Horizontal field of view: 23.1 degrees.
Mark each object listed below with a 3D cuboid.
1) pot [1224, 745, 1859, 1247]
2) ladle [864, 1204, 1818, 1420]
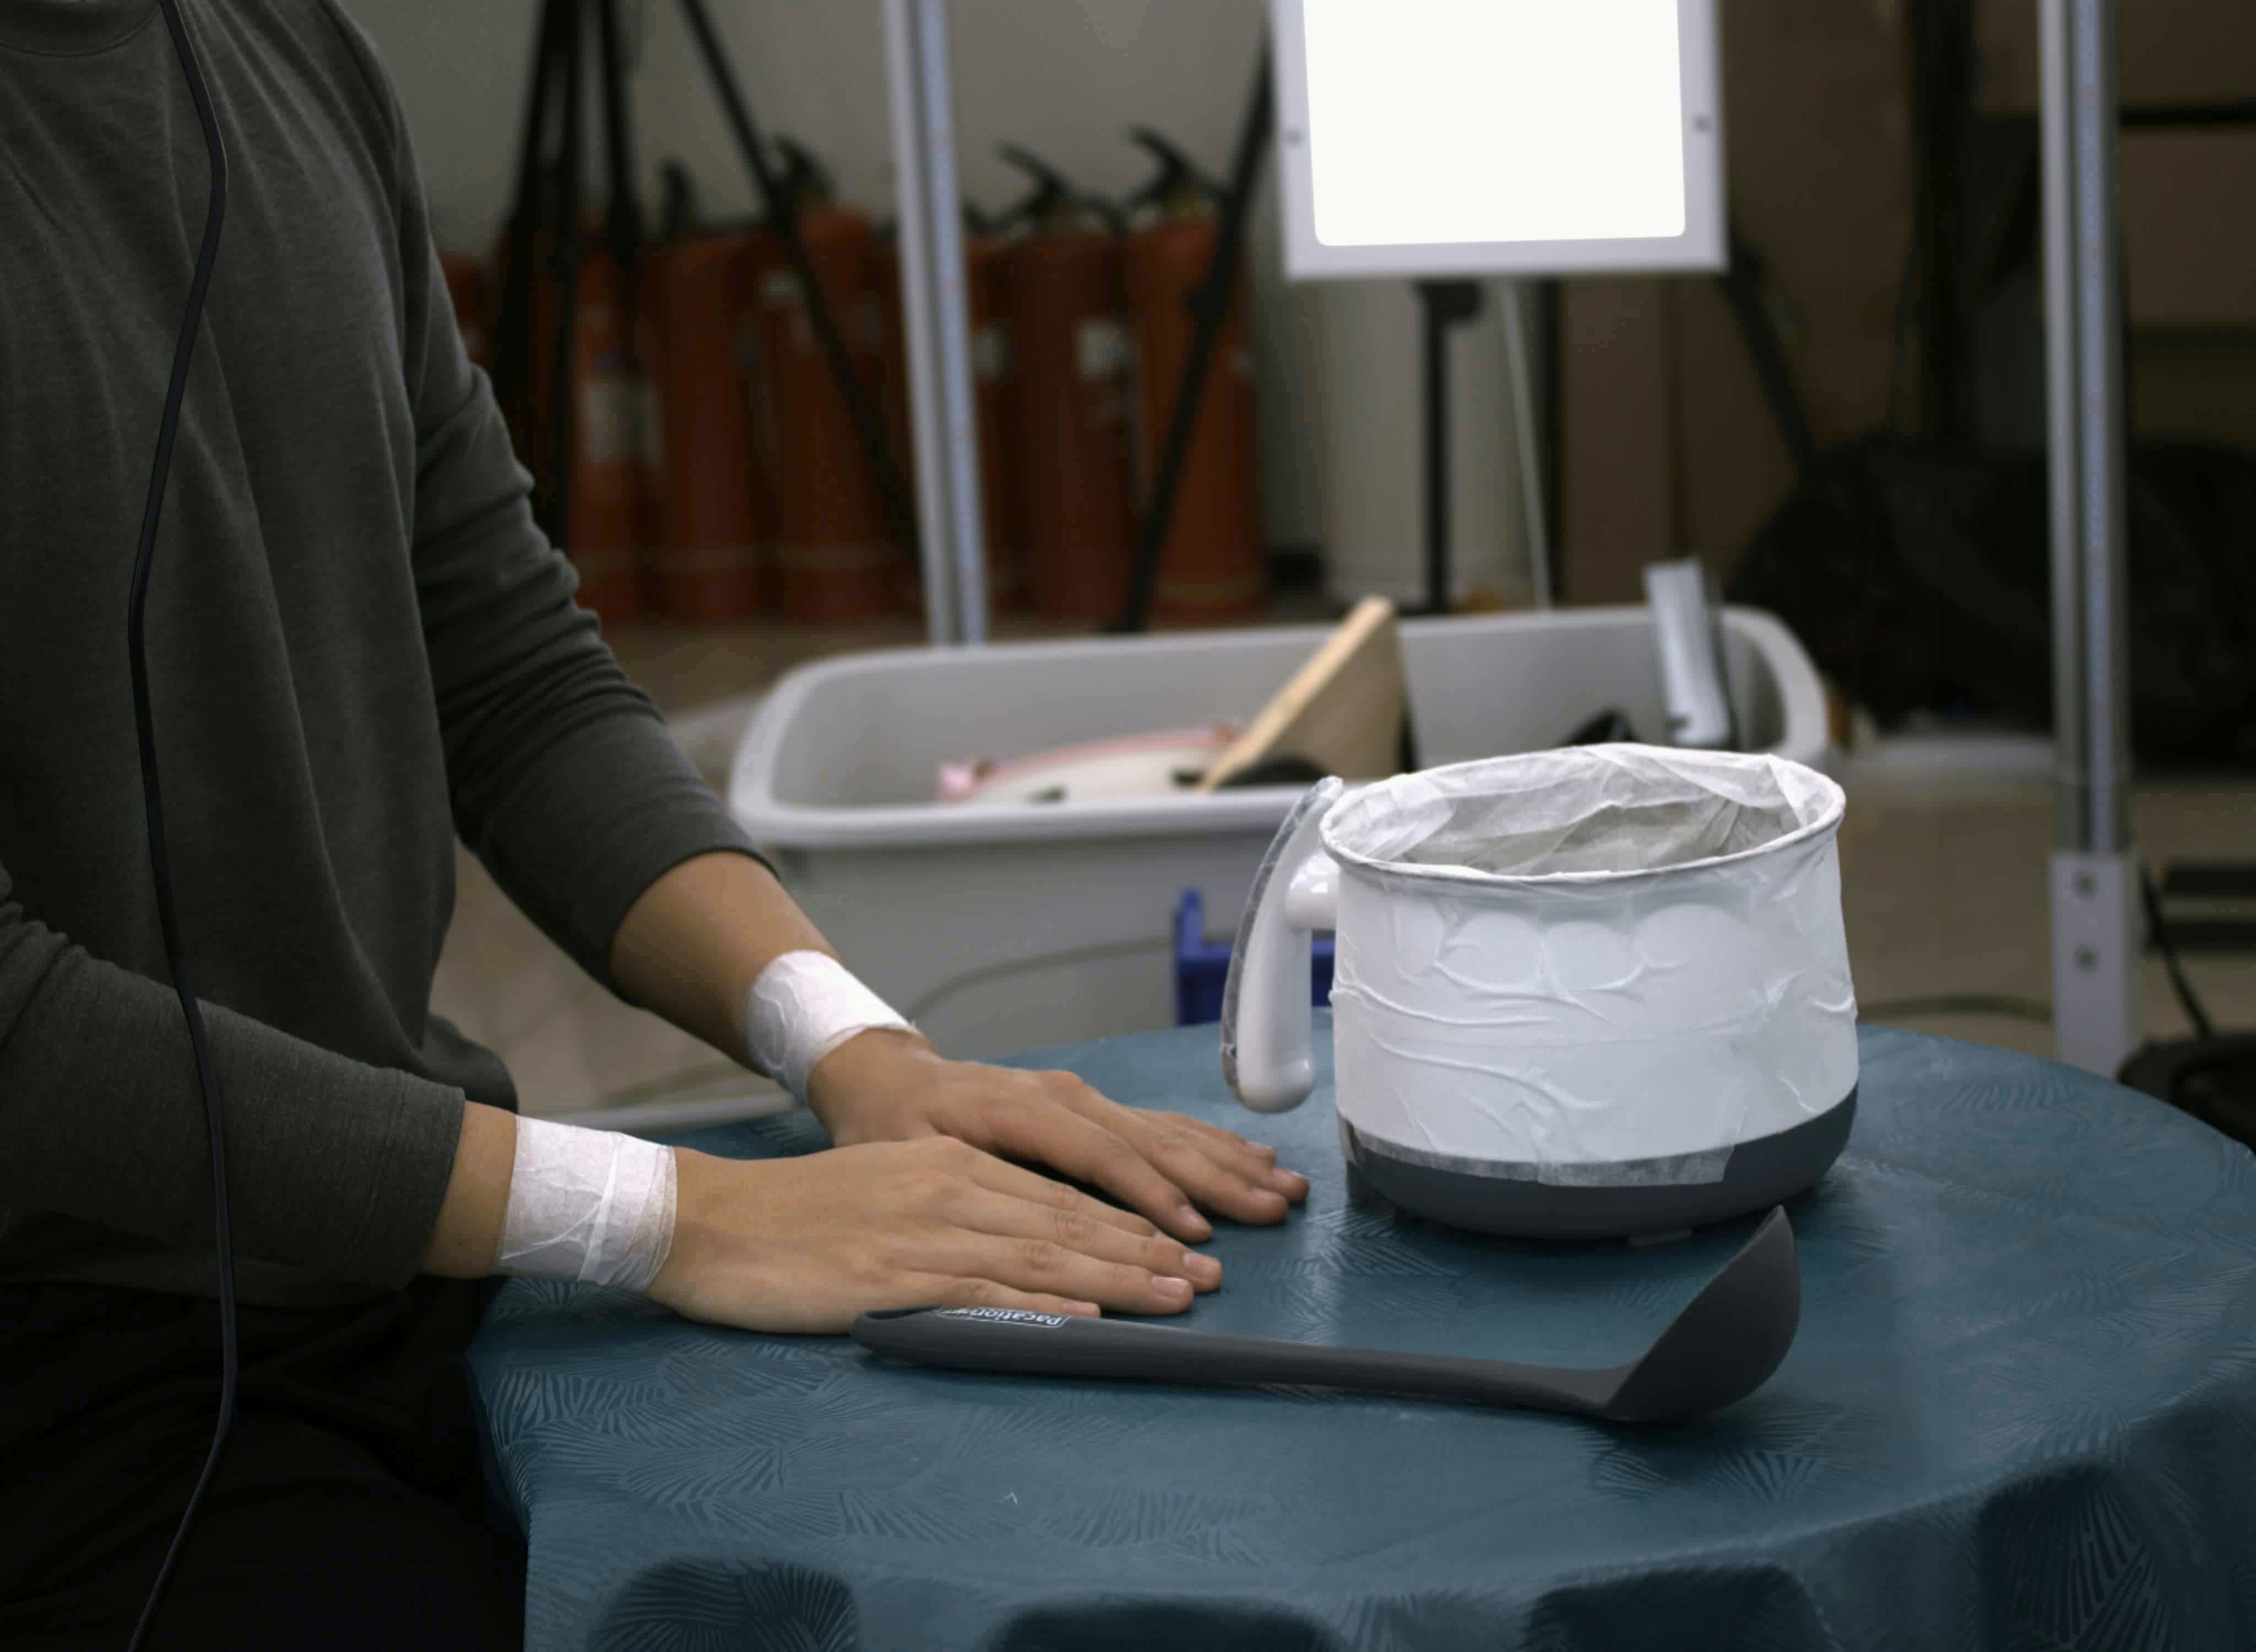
[{"bbox_3d":[0.133,0.054,1.863,0.238,0.137,0.174,4,16,34],"label":"pot"},{"bbox_3d":[0.059,0.143,1.680,0.319,0.064,0.084,2,10,26],"label":"ladle"}]
